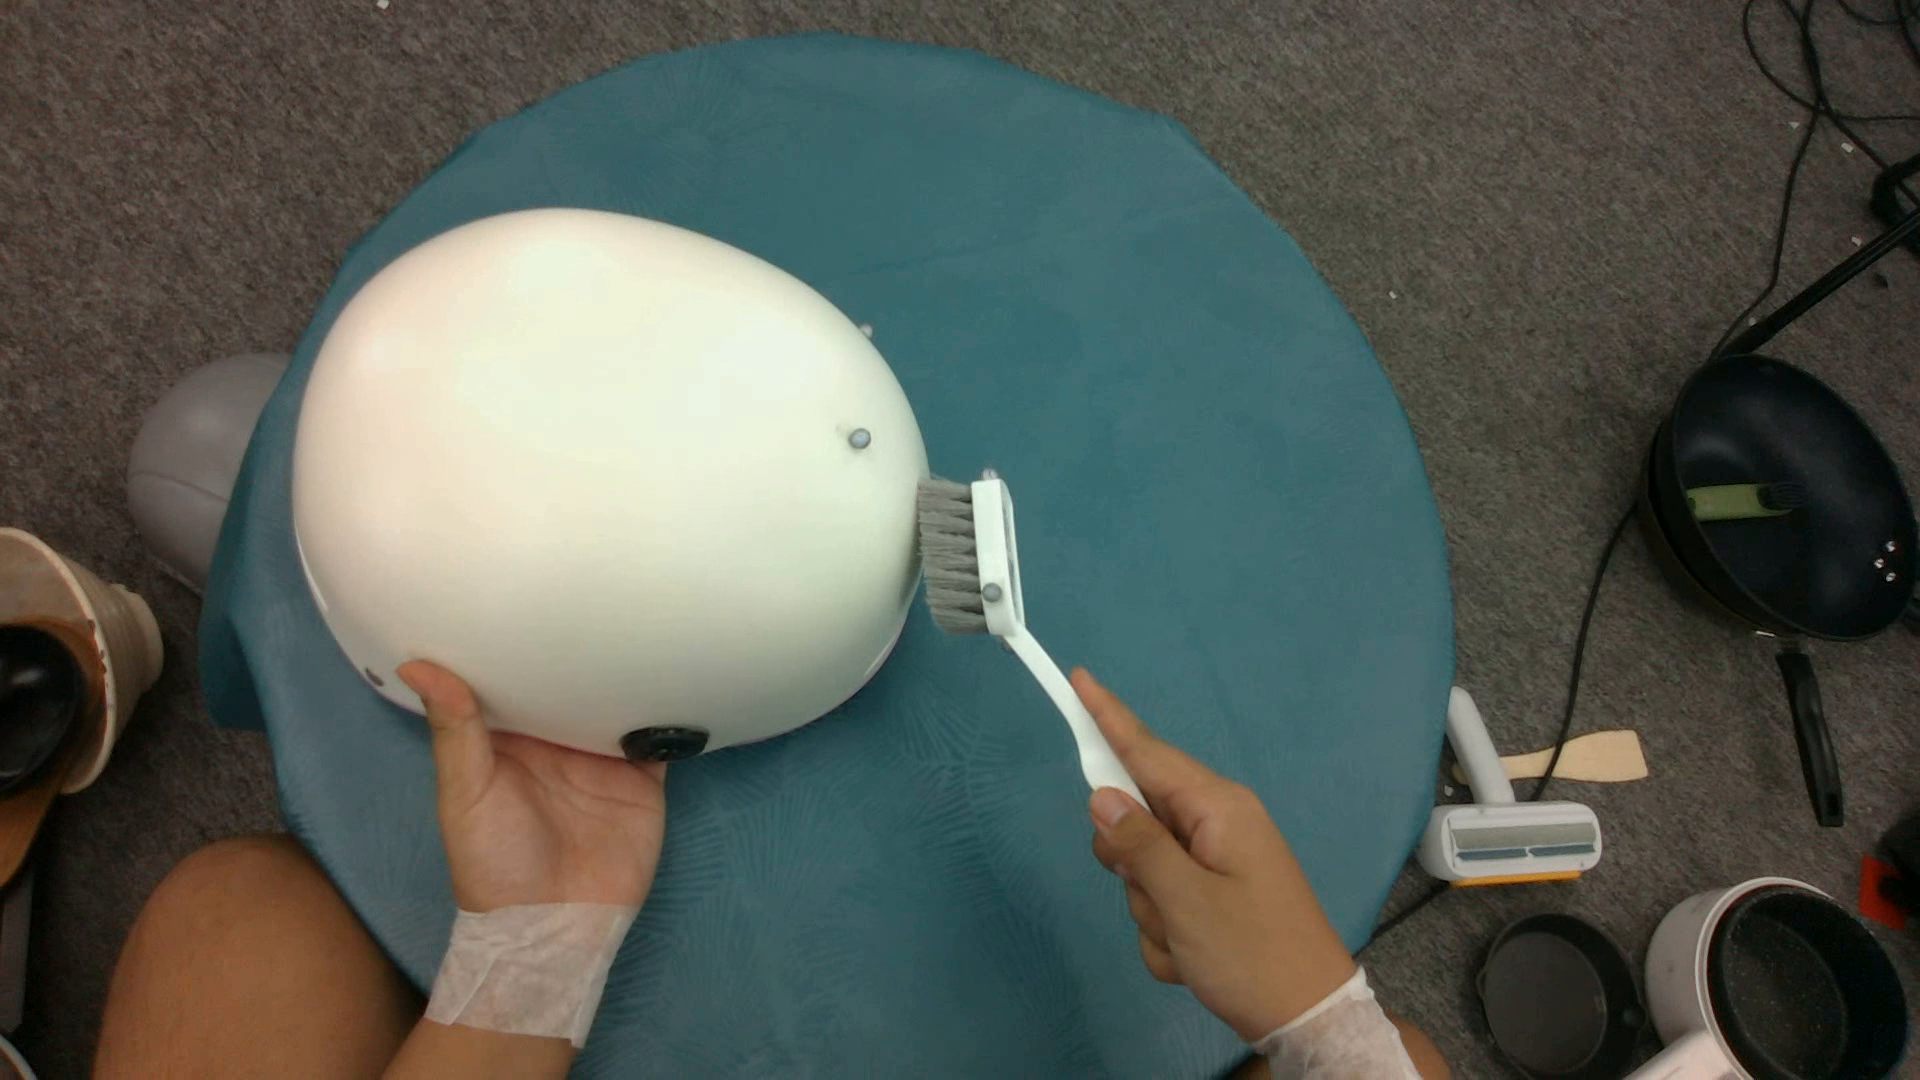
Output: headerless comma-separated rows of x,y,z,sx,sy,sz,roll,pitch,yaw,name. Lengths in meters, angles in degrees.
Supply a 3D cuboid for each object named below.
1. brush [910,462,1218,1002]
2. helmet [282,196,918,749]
0.034,0.074,0.557,0.050,0.034,0.244,-24,71,4,brush
-0.142,-0.041,0.576,0.269,0.166,0.238,7,65,-11,helmet
